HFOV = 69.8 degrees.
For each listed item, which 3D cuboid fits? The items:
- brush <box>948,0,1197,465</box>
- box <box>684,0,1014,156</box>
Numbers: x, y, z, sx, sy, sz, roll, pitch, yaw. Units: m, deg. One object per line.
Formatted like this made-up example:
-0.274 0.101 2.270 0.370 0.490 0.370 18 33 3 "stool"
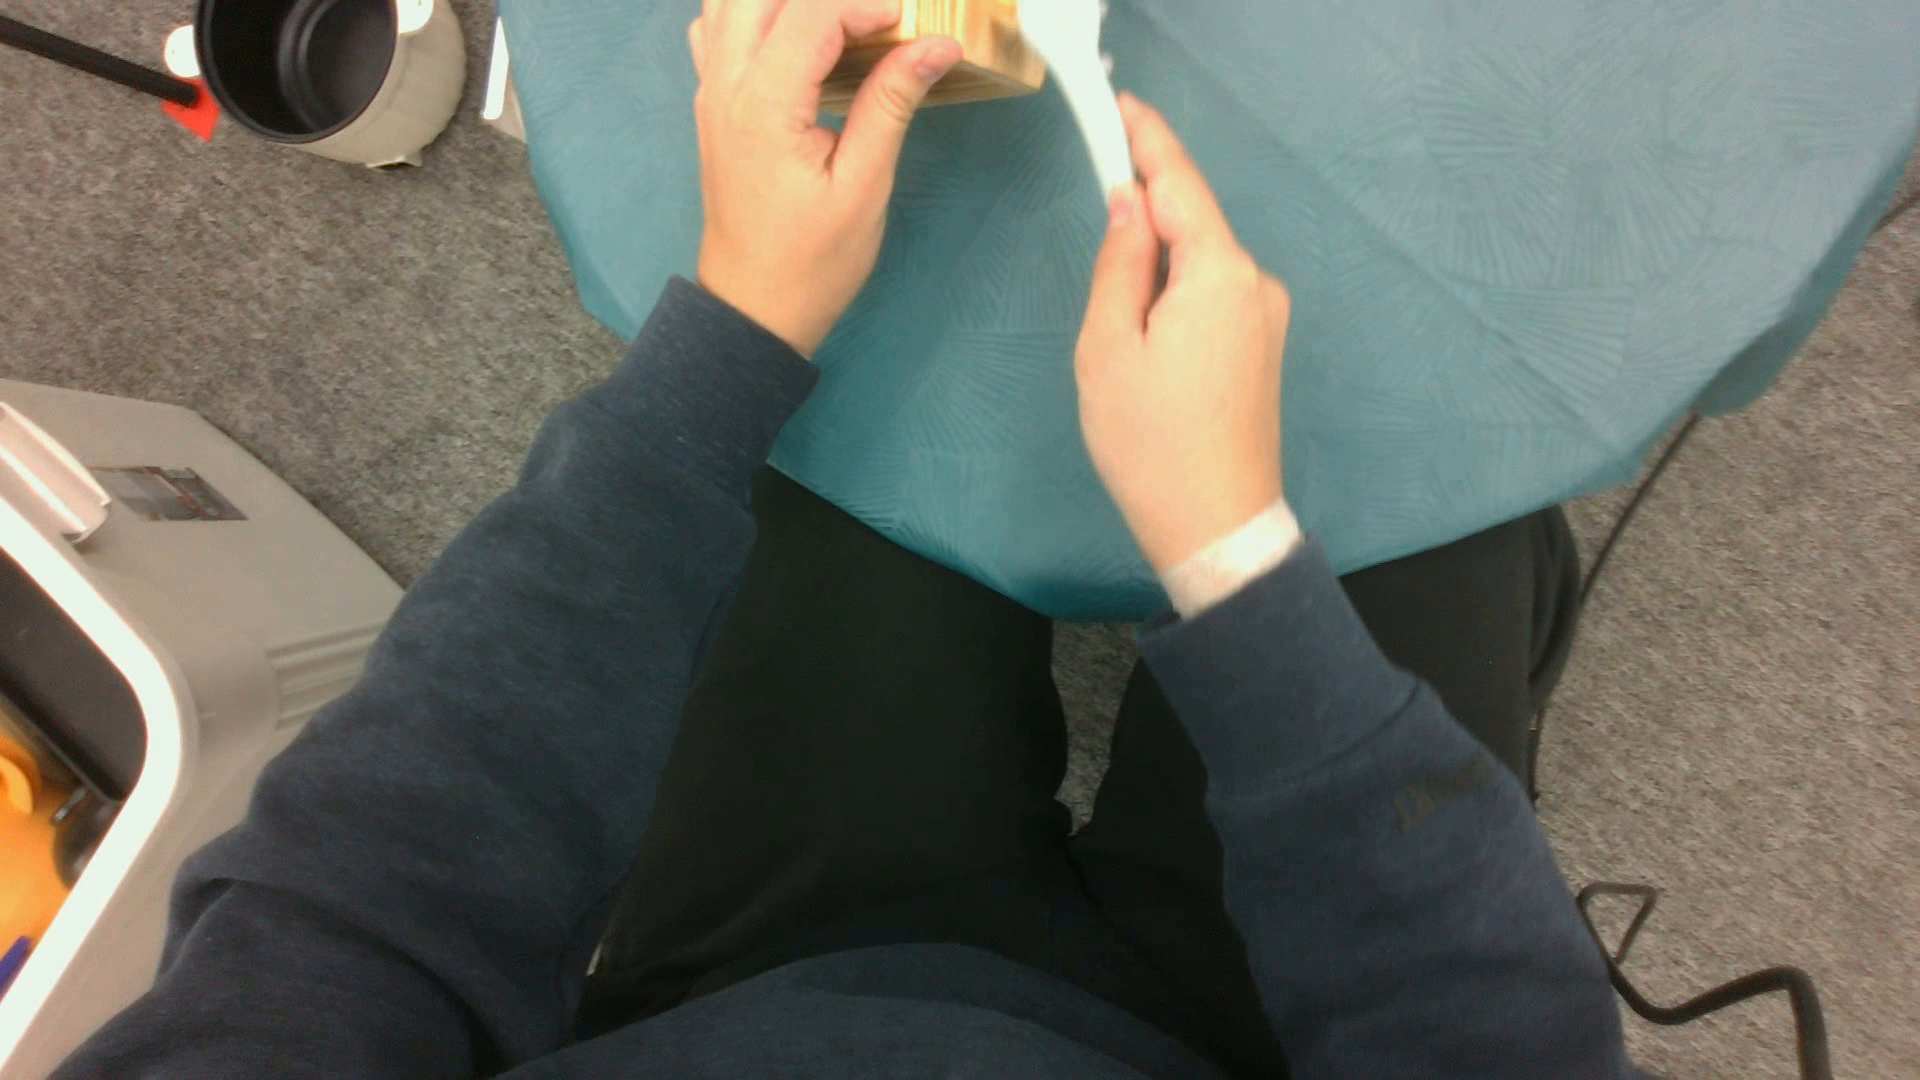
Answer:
0.040 -0.137 0.509 0.049 0.038 0.228 -15 97 40 "brush"
-0.044 -0.269 0.540 0.107 0.080 0.211 2 94 37 "box"
